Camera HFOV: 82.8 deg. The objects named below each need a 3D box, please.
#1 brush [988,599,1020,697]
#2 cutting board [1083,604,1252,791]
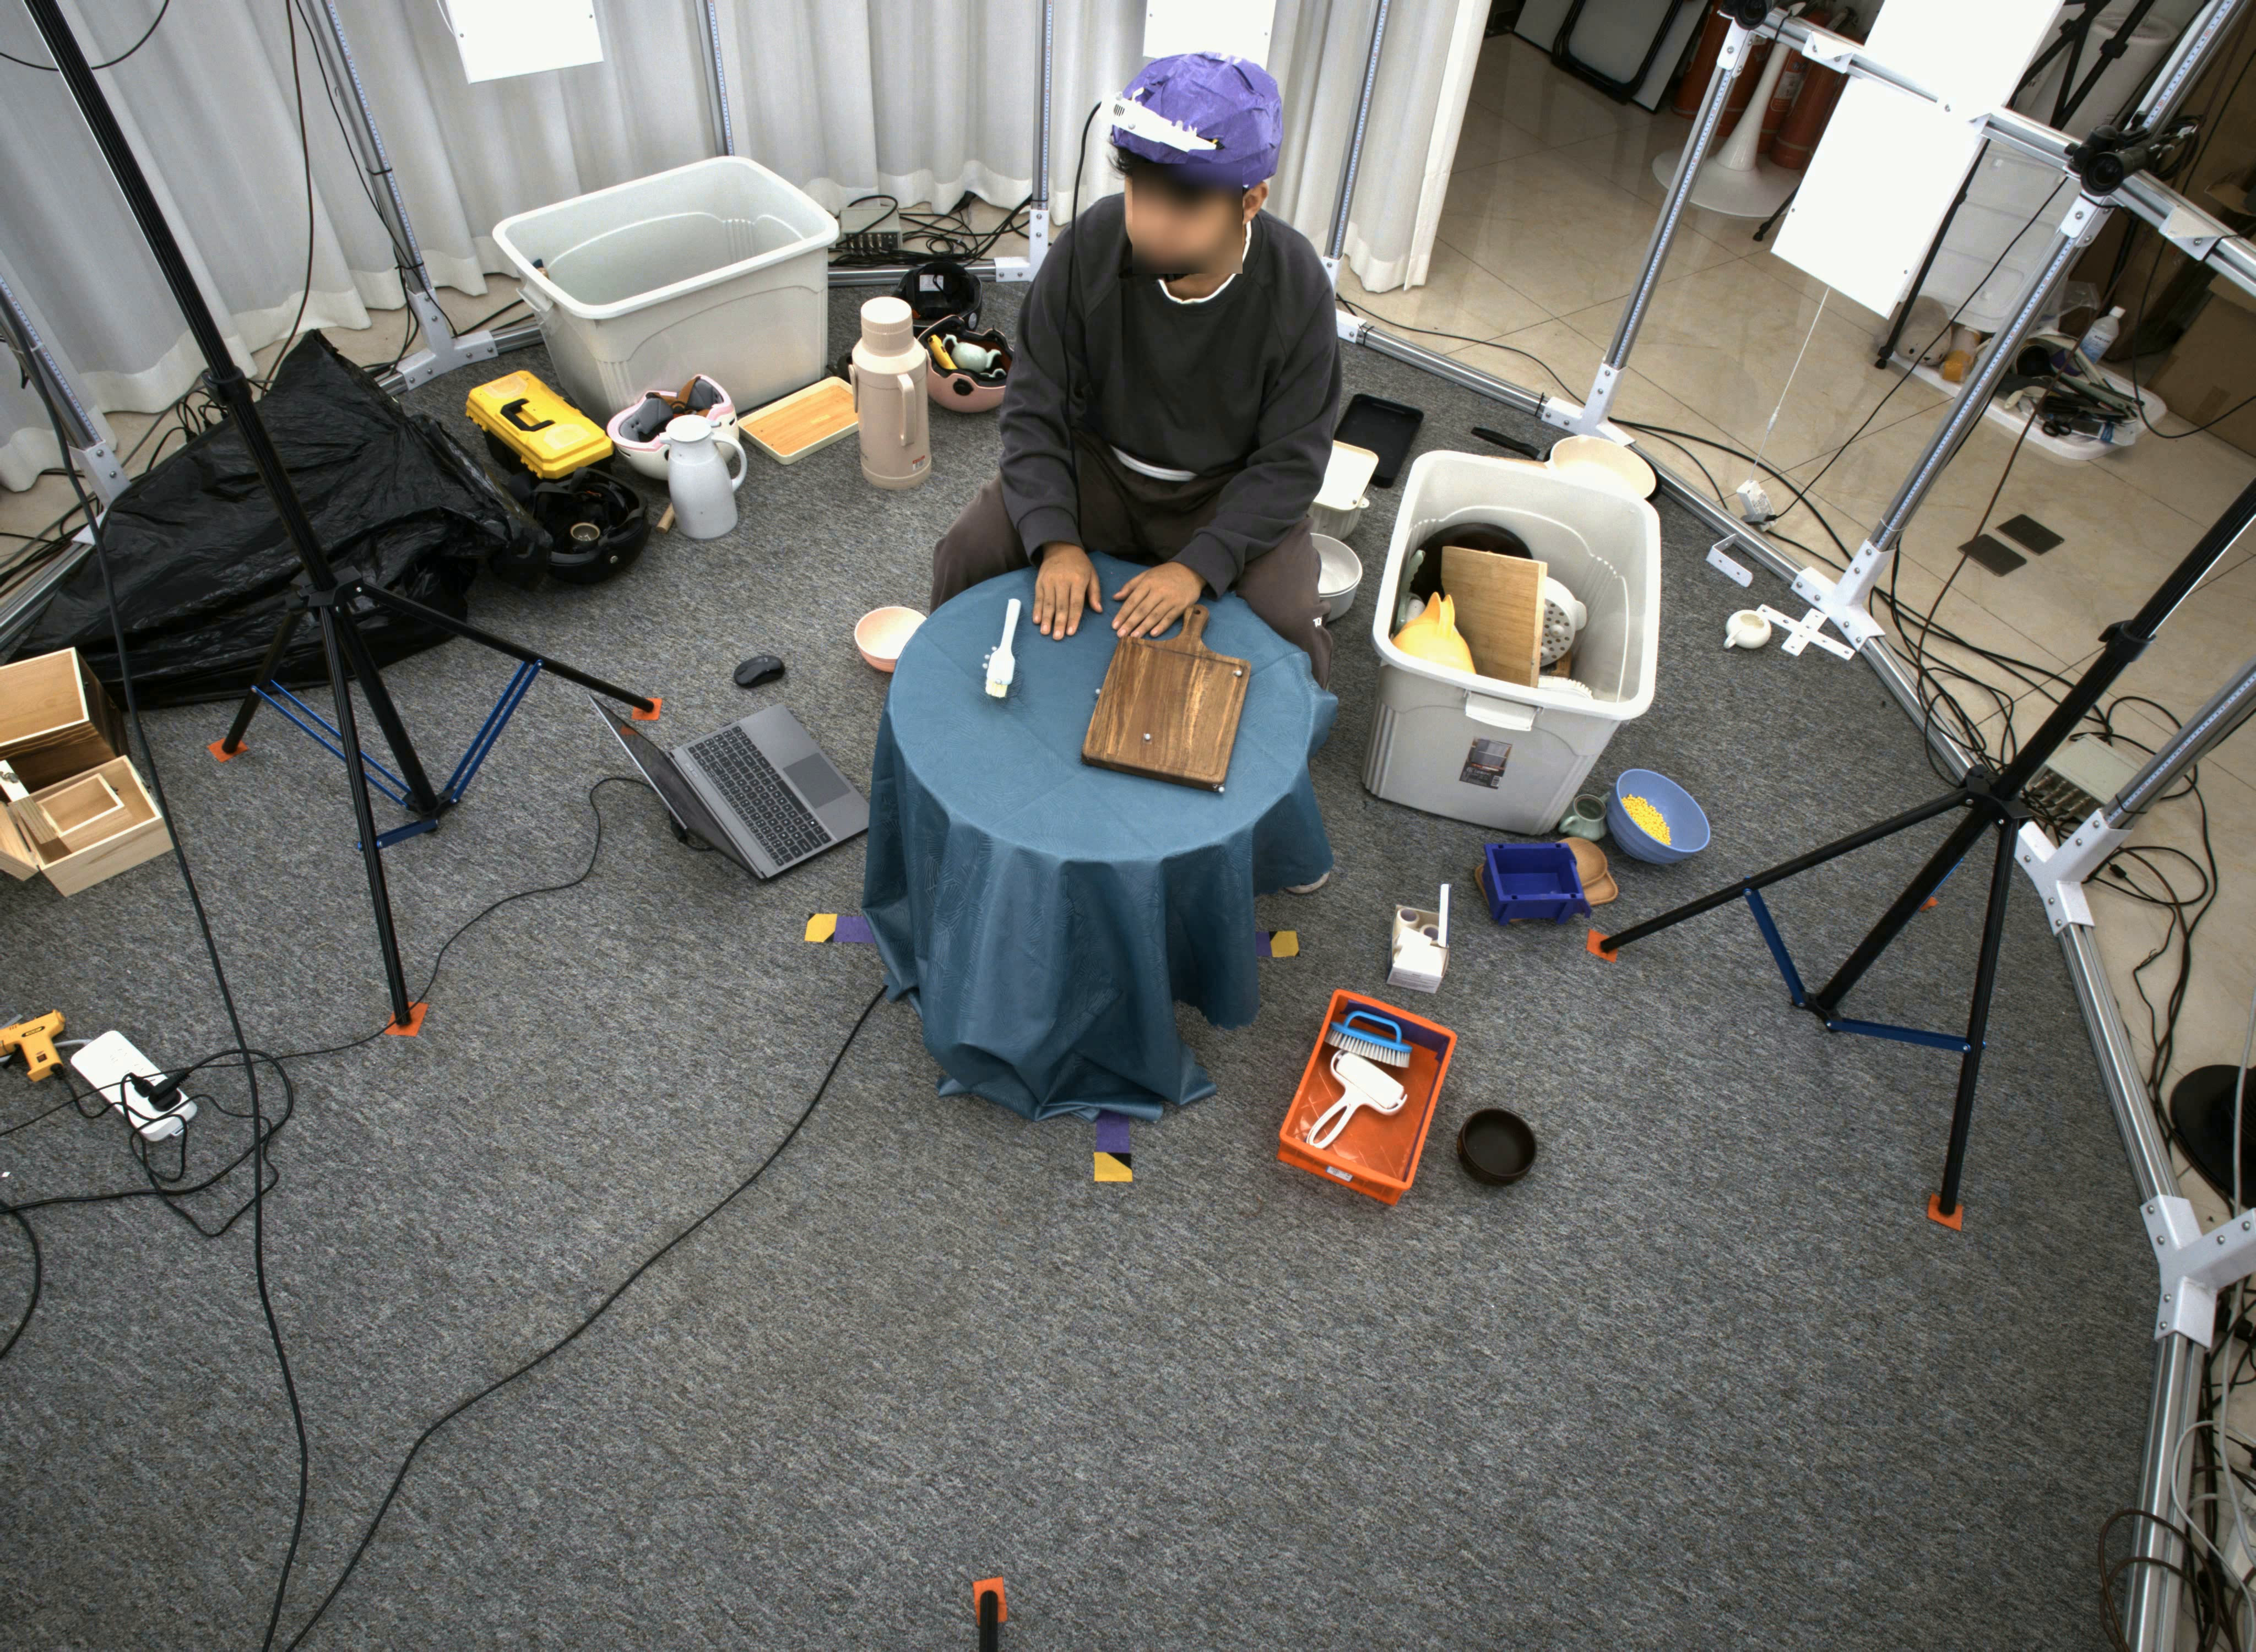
[{"bbox_3d":[-0.177,-0.261,1.858,0.037,0.048,0.234,13,40,-10],"label":"brush"},{"bbox_3d":[0.071,-0.200,1.831,0.201,0.022,0.360,12,49,6],"label":"cutting board"}]
